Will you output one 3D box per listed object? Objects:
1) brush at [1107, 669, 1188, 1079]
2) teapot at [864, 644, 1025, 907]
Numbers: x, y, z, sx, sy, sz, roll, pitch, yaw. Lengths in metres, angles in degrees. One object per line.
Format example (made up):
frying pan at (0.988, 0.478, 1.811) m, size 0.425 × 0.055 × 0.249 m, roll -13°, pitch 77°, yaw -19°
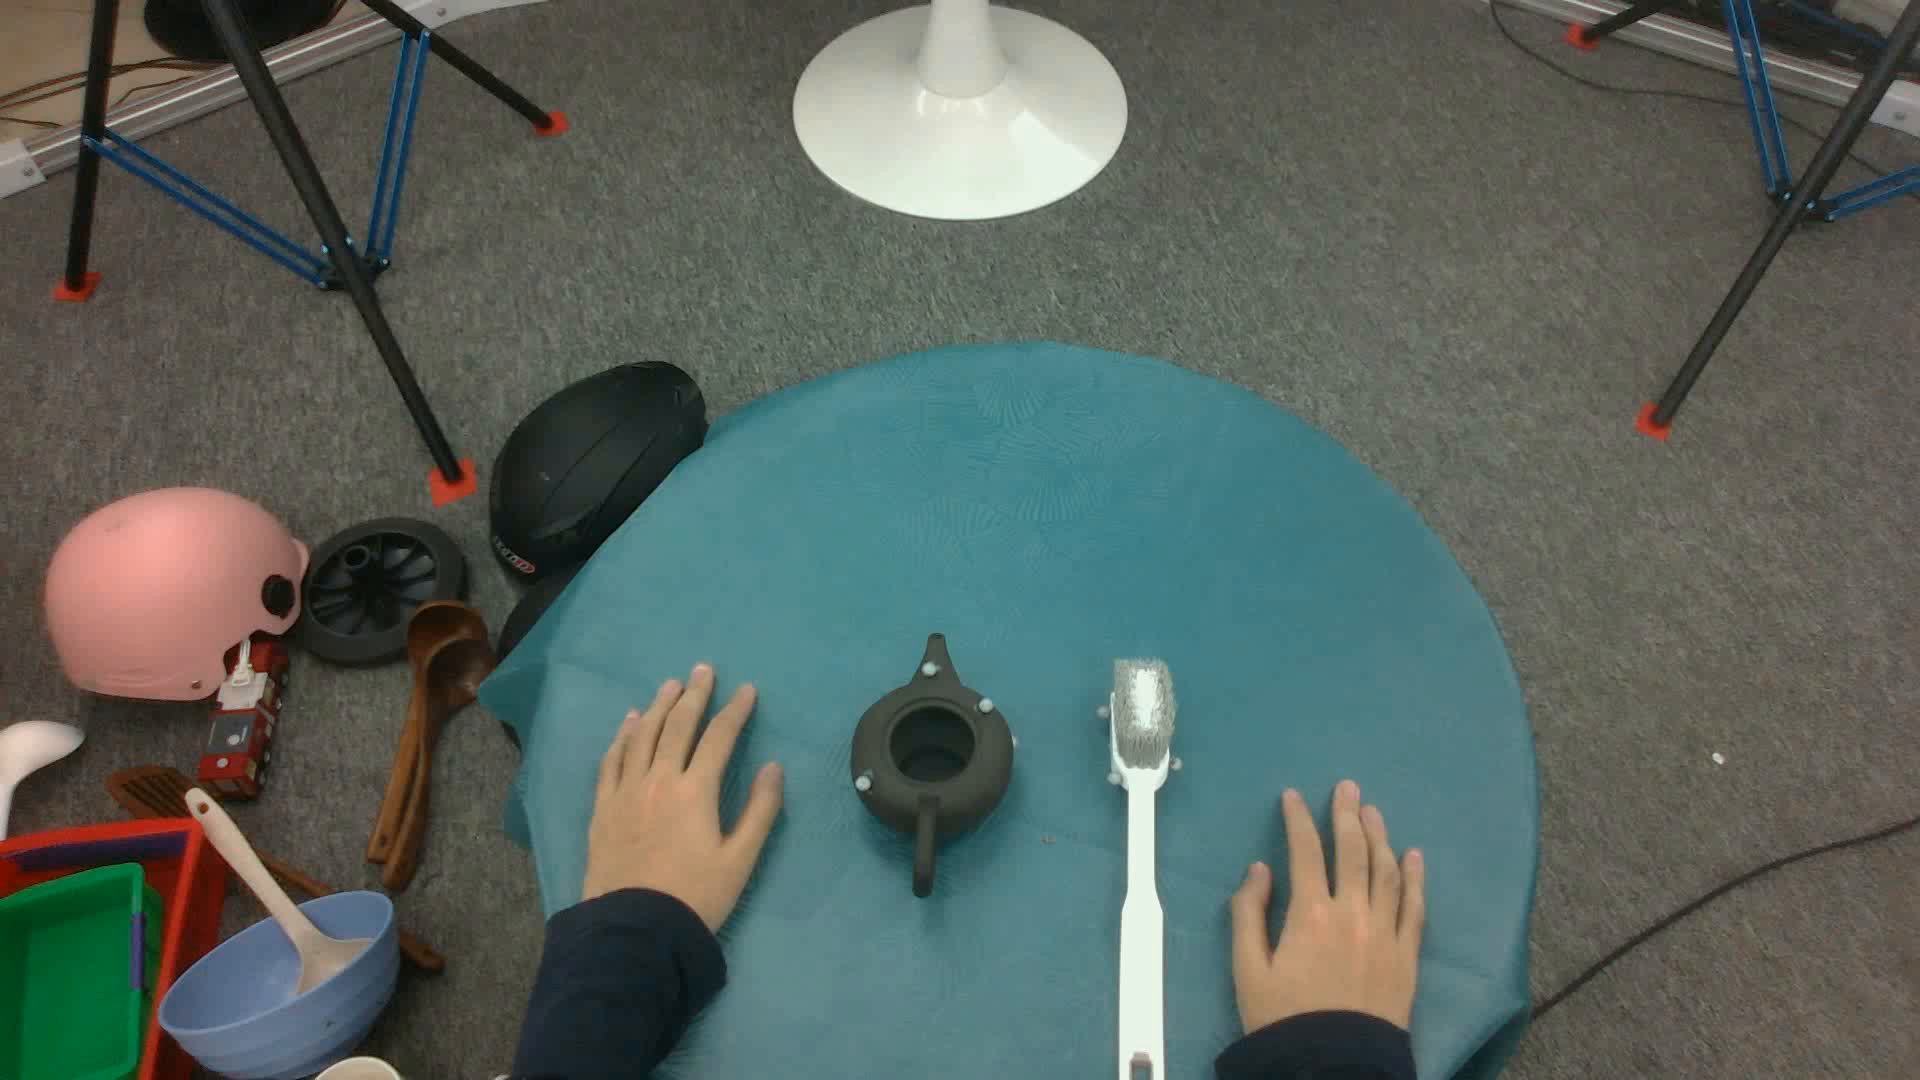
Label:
brush at (0.103, 0.181, 0.762) m, size 0.034 × 0.050 × 0.245 m, roll 9°, pitch 54°, yaw 0°
teapot at (-0.009, 0.135, 0.788) m, size 0.092 × 0.064 × 0.155 m, roll 3°, pitch 55°, yaw 2°
